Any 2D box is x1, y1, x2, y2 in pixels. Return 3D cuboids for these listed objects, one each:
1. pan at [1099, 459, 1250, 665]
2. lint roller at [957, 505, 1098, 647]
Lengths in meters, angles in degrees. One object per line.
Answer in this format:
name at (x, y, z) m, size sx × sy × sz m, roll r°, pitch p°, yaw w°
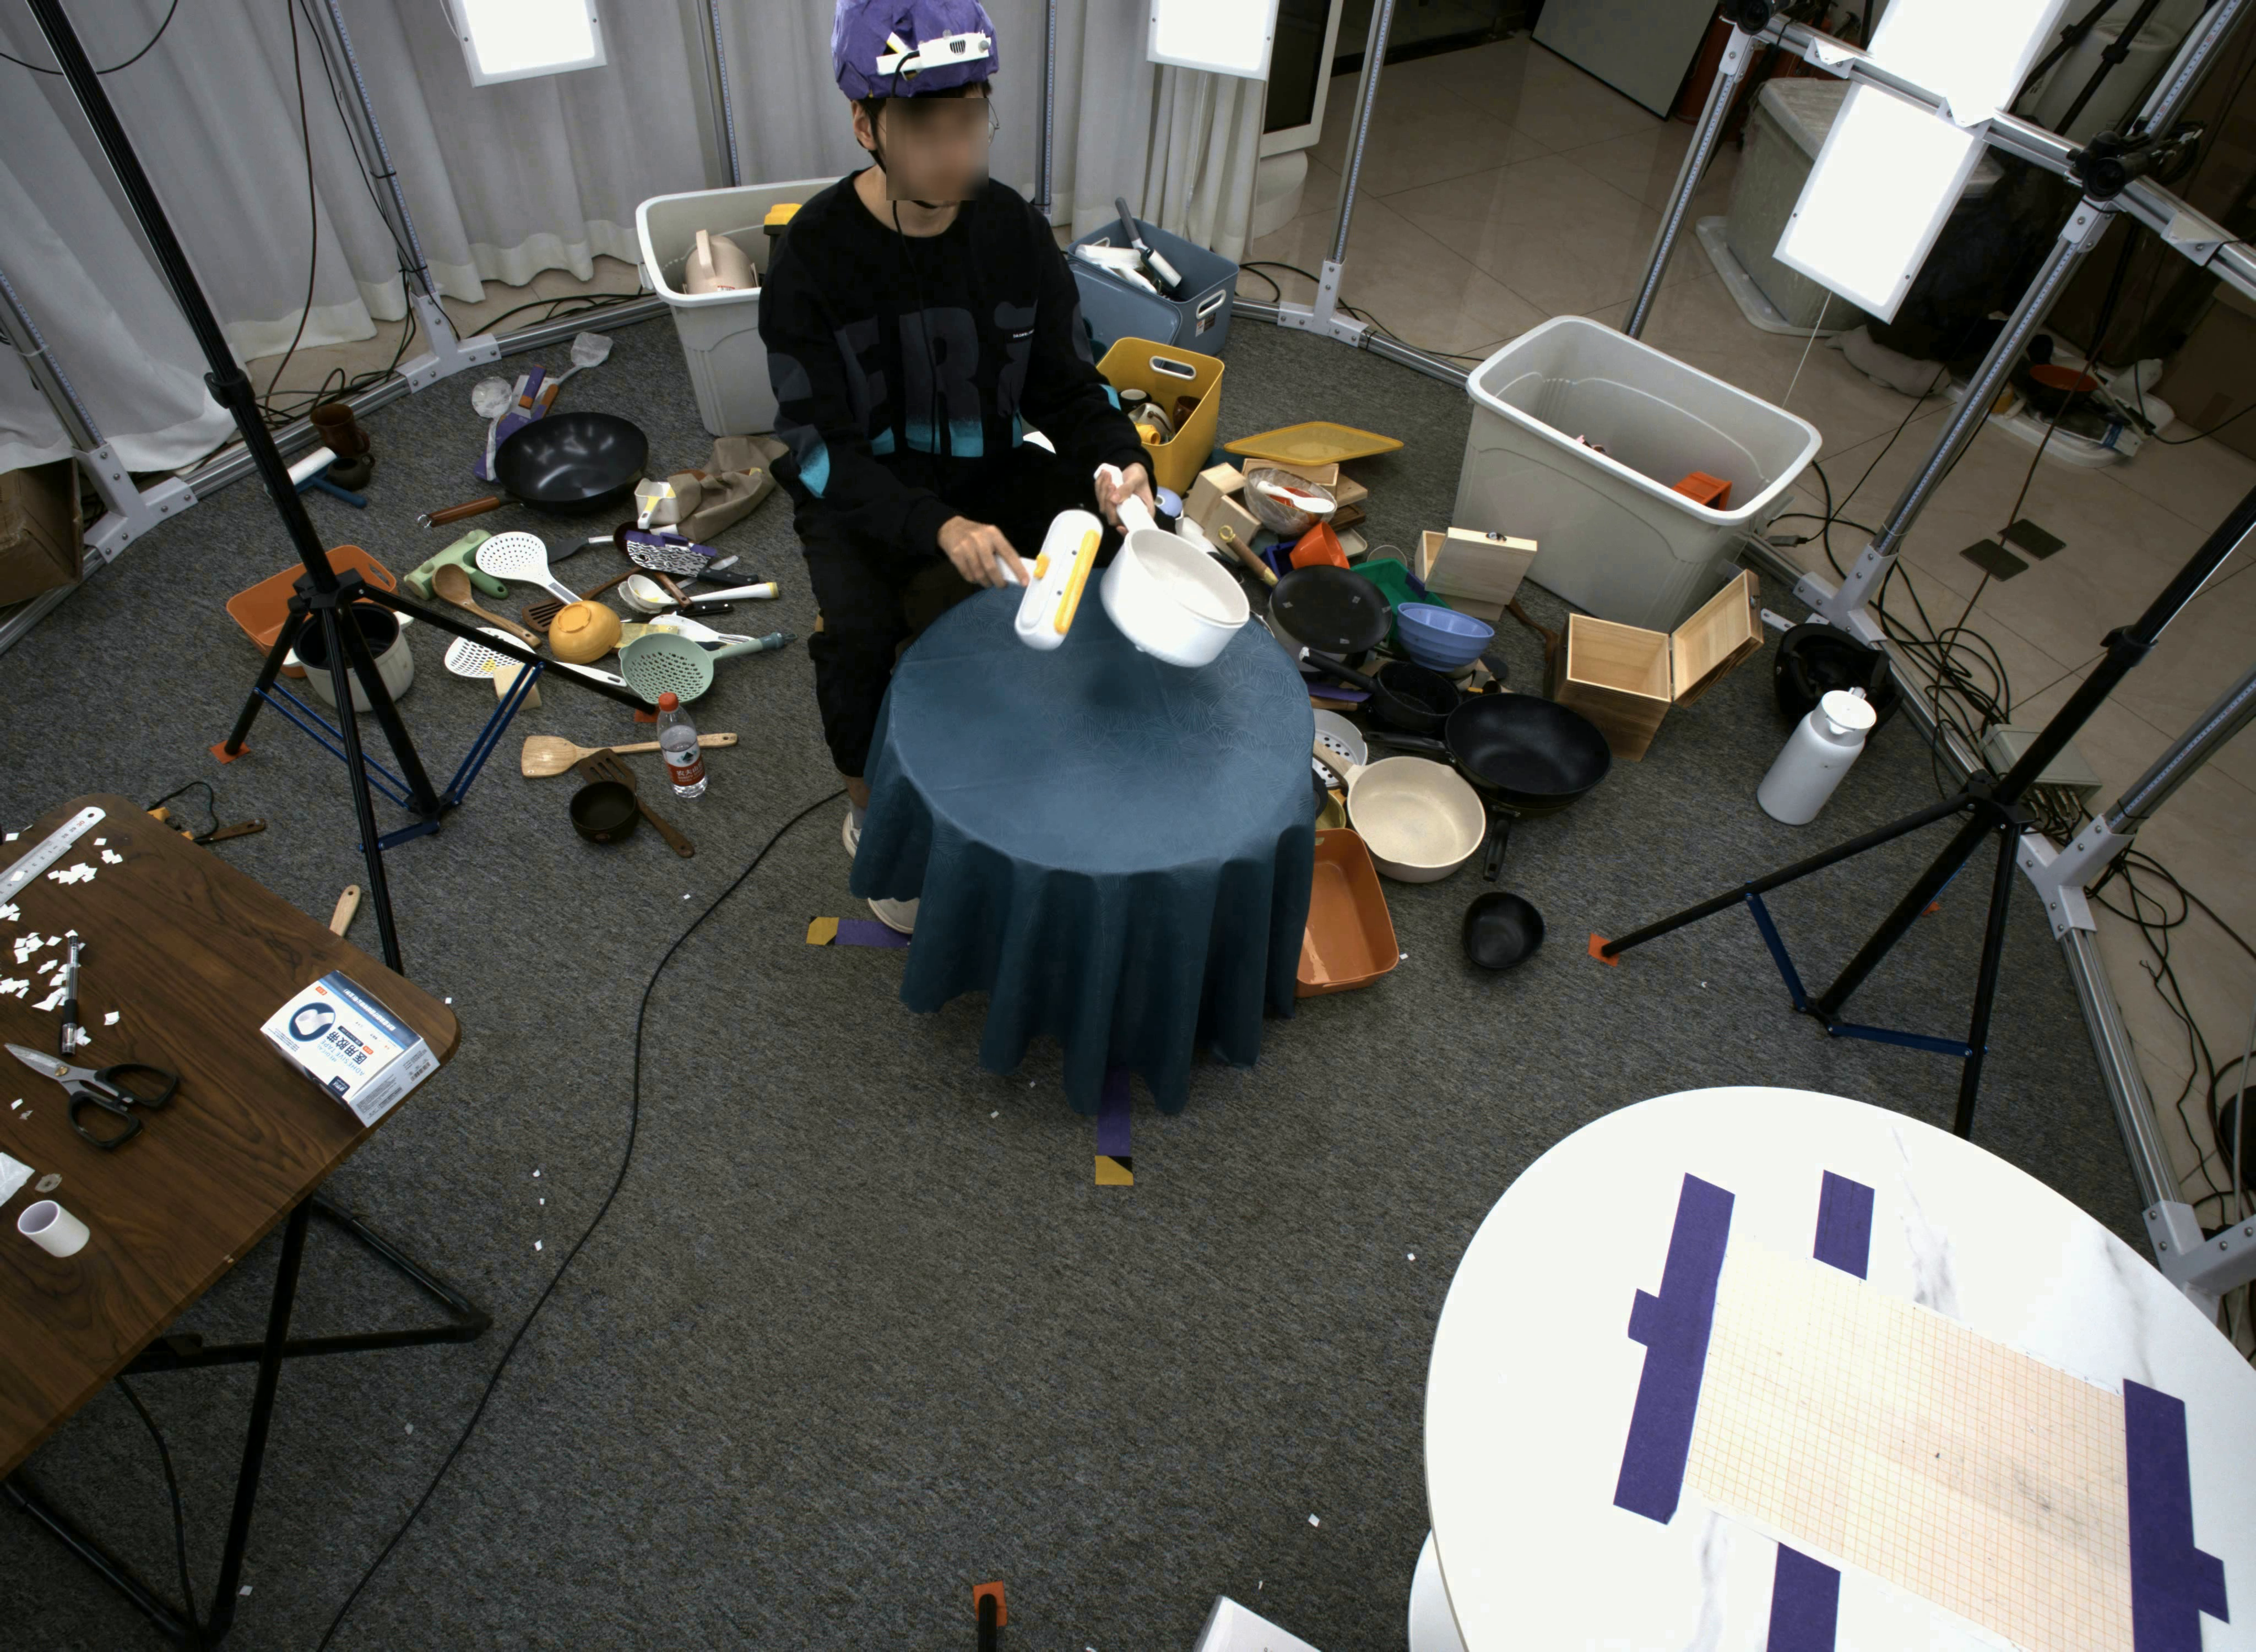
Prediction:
pan at (0.029, -0.372, 1.815) m, size 0.199 × 0.100 × 0.363 m, roll 6°, pitch 44°, yaw -41°
lint roller at (-0.143, -0.340, 1.726) m, size 0.194 × 0.073 × 0.194 m, roll 10°, pitch 83°, yaw 37°
